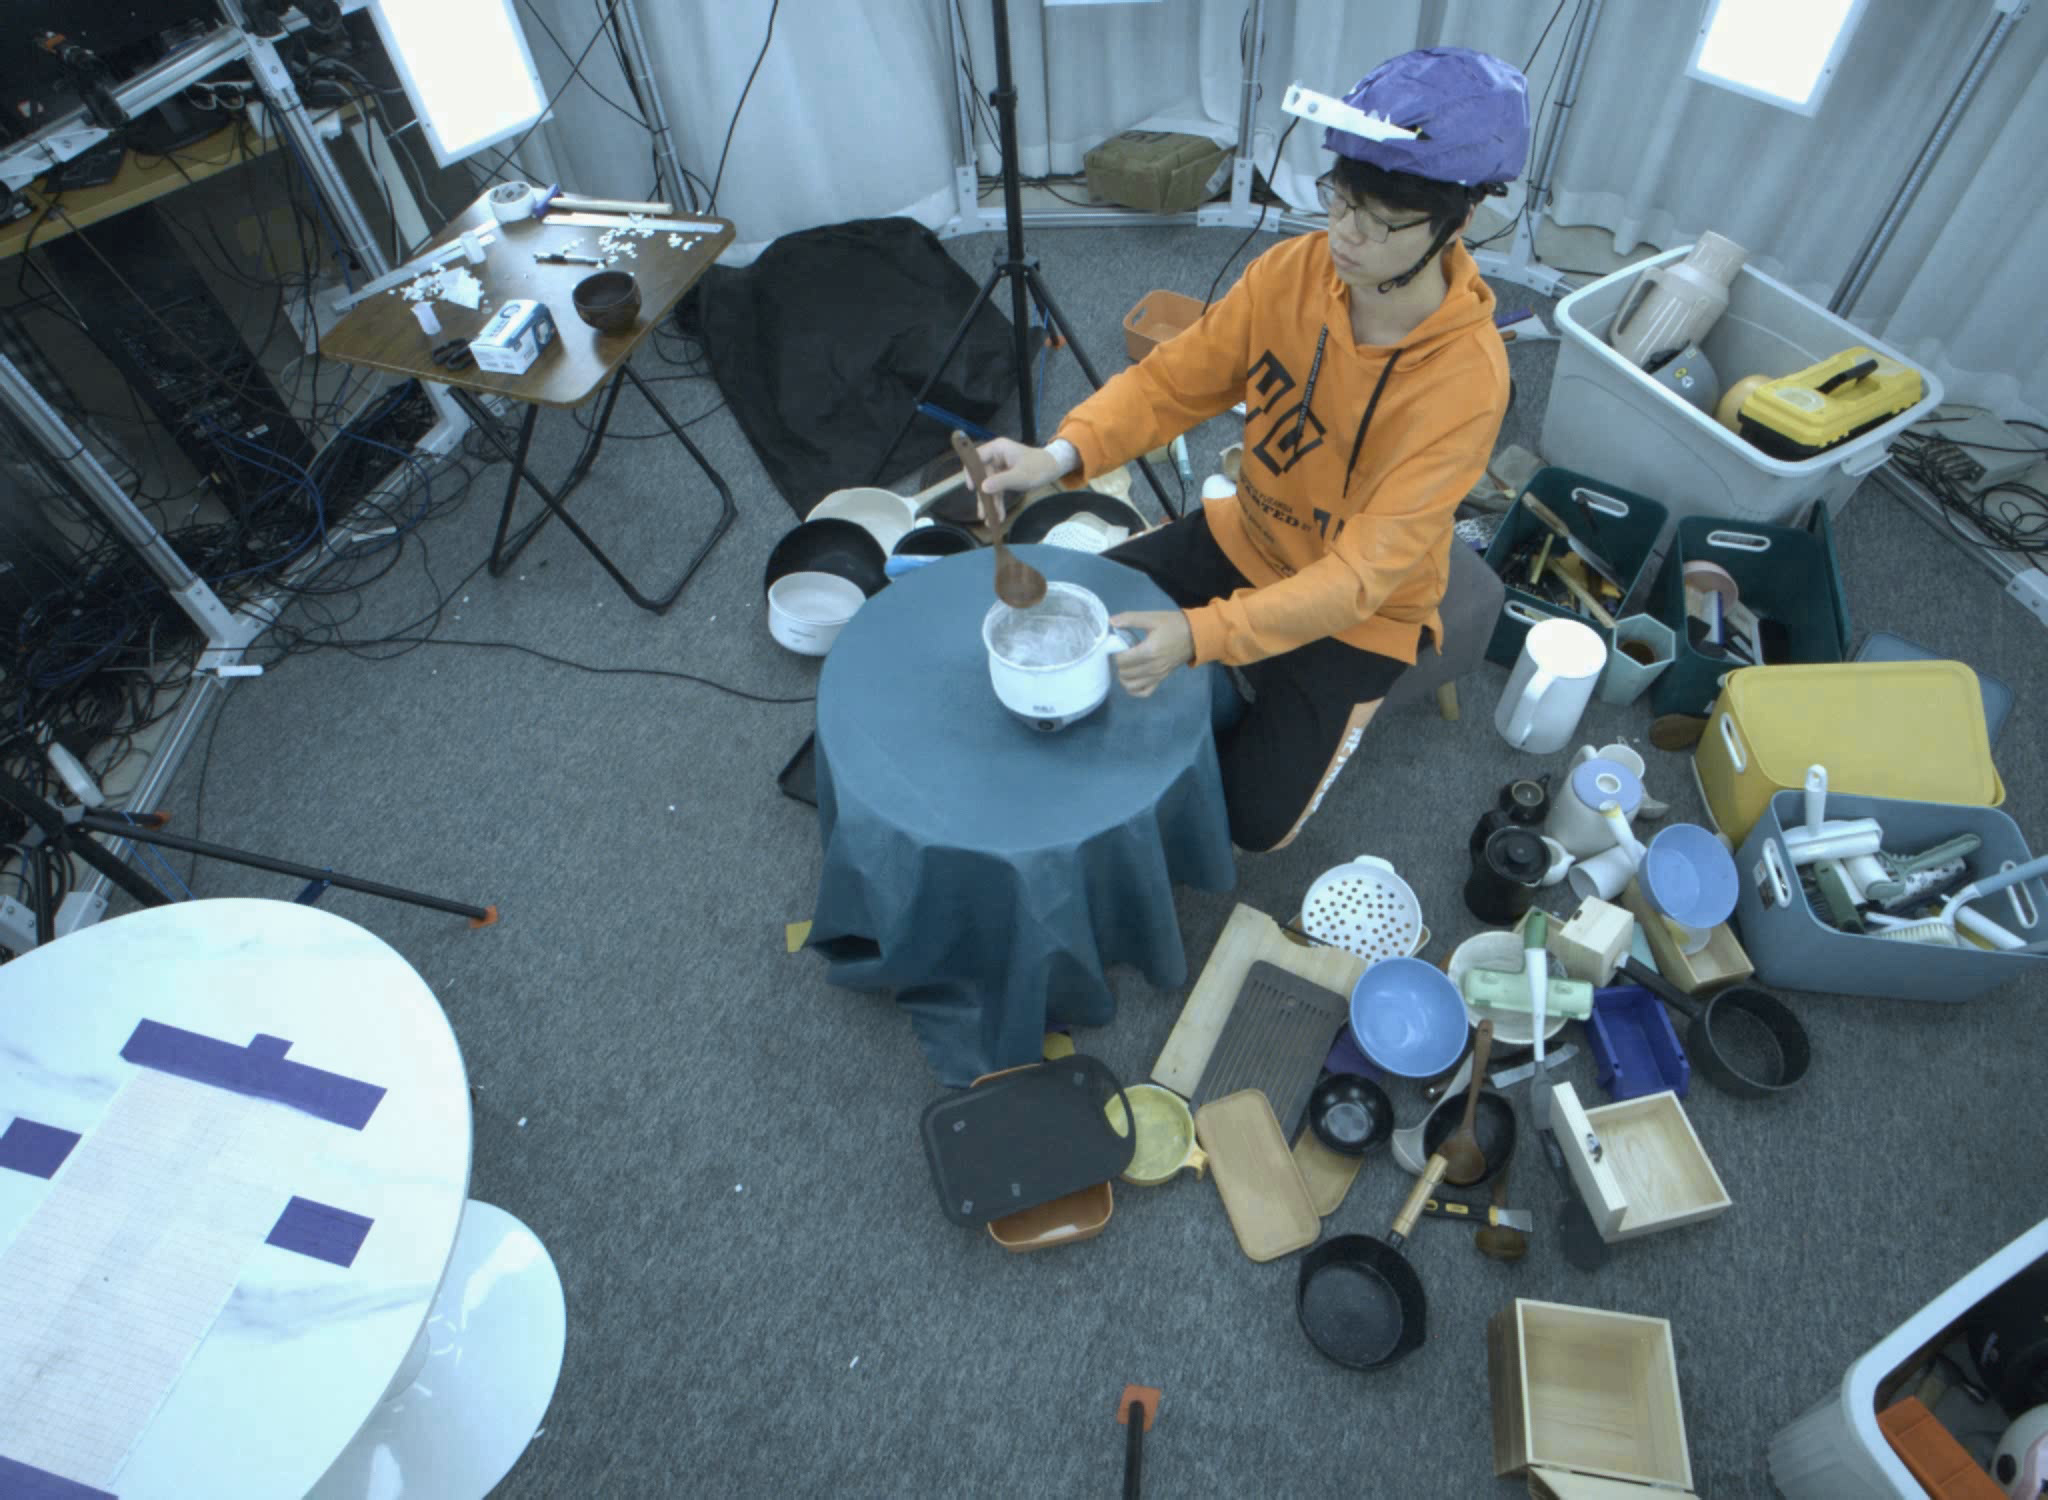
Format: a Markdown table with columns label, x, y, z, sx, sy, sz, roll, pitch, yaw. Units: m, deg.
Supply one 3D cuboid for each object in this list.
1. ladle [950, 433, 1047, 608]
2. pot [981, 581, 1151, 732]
| label | x | y | z | sx | sy | sz | roll | pitch | yaw |
| --- | --- | --- | --- | --- | --- | --- | --- | --- | --- |
| ladle | -0.040 | -0.318 | 1.670 | 0.077 | 0.262 | 0.064 | -28 | 15 | -31 |
| pot | 0.063 | -0.133 | 1.755 | 0.232 | 0.138 | 0.177 | 1 | 53 | 8 |
